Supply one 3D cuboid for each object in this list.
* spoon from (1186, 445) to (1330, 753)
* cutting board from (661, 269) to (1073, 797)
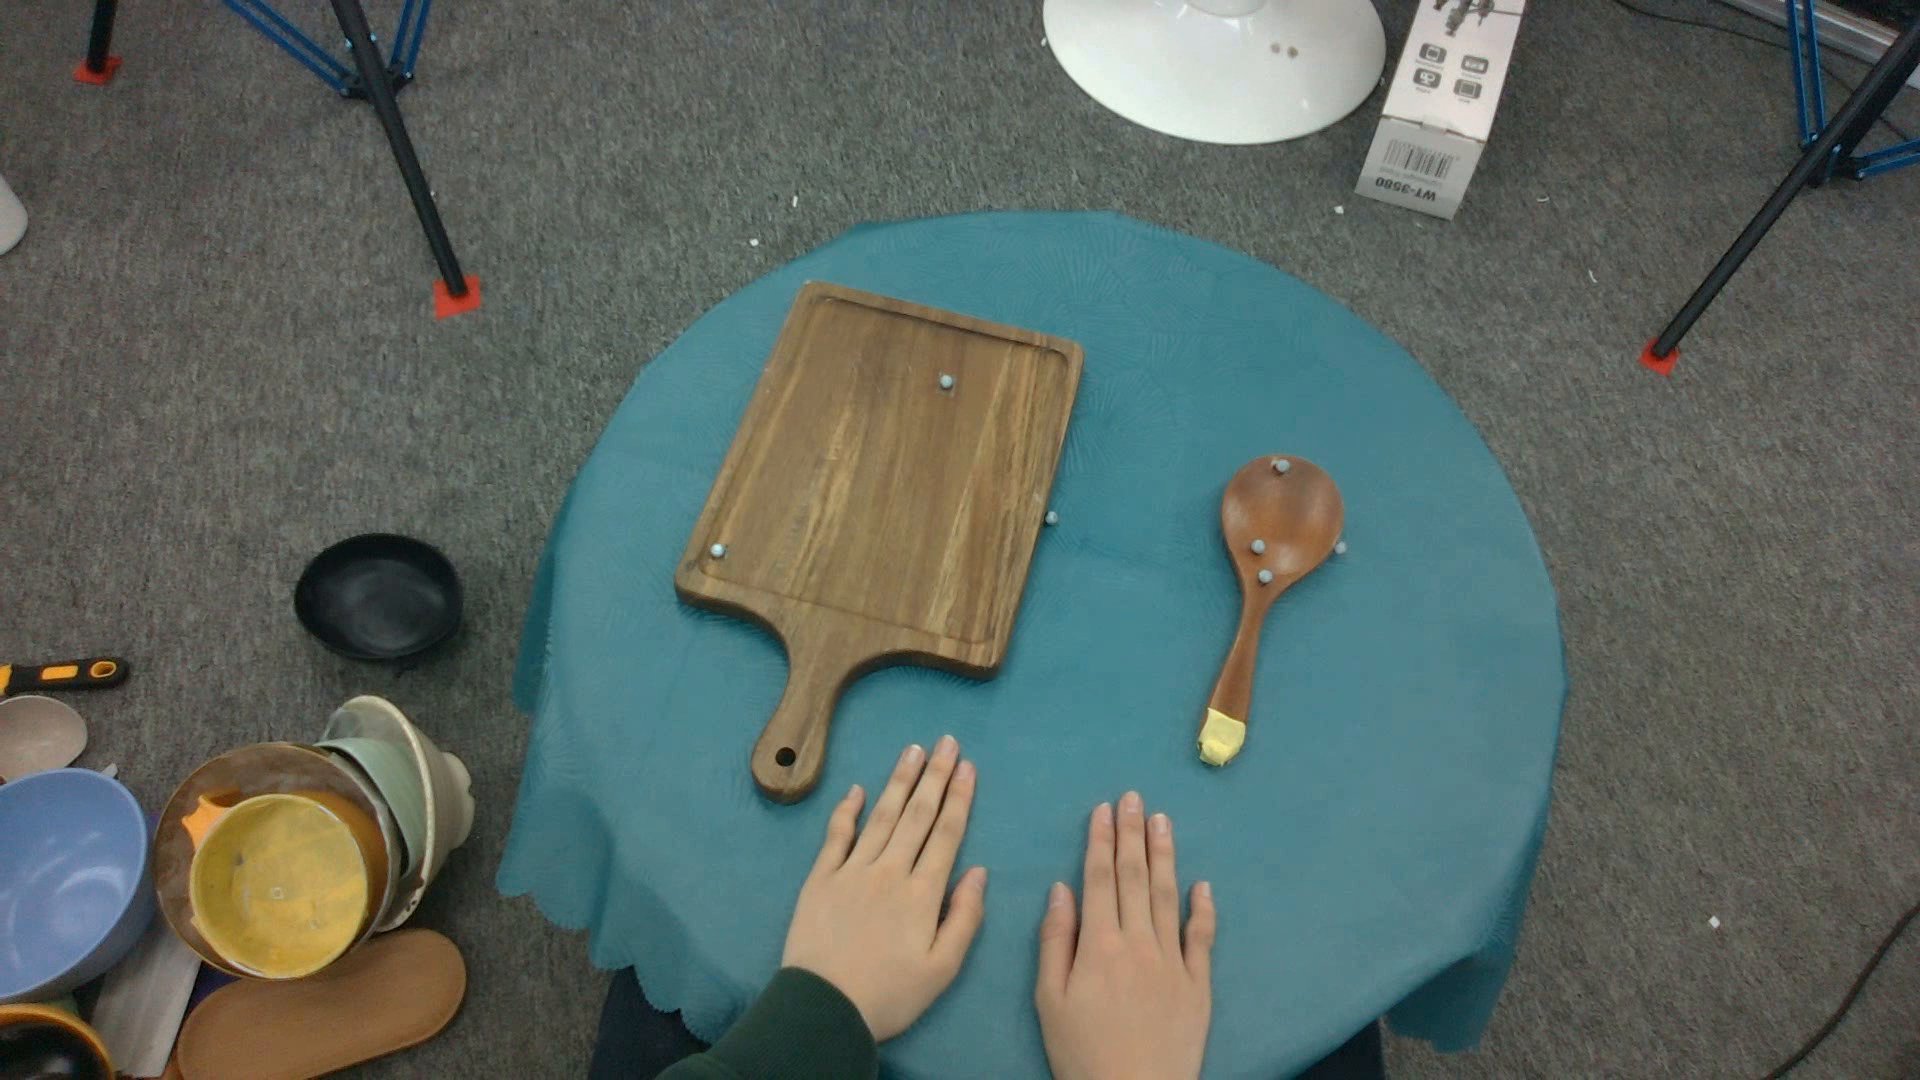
[{"bbox_3d":[0.168,0.030,0.812,0.075,0.017,0.217,19,58,5],"label":"spoon"},{"bbox_3d":[-0.061,-0.013,0.820,0.201,0.023,0.354,15,58,3],"label":"cutting board"}]
